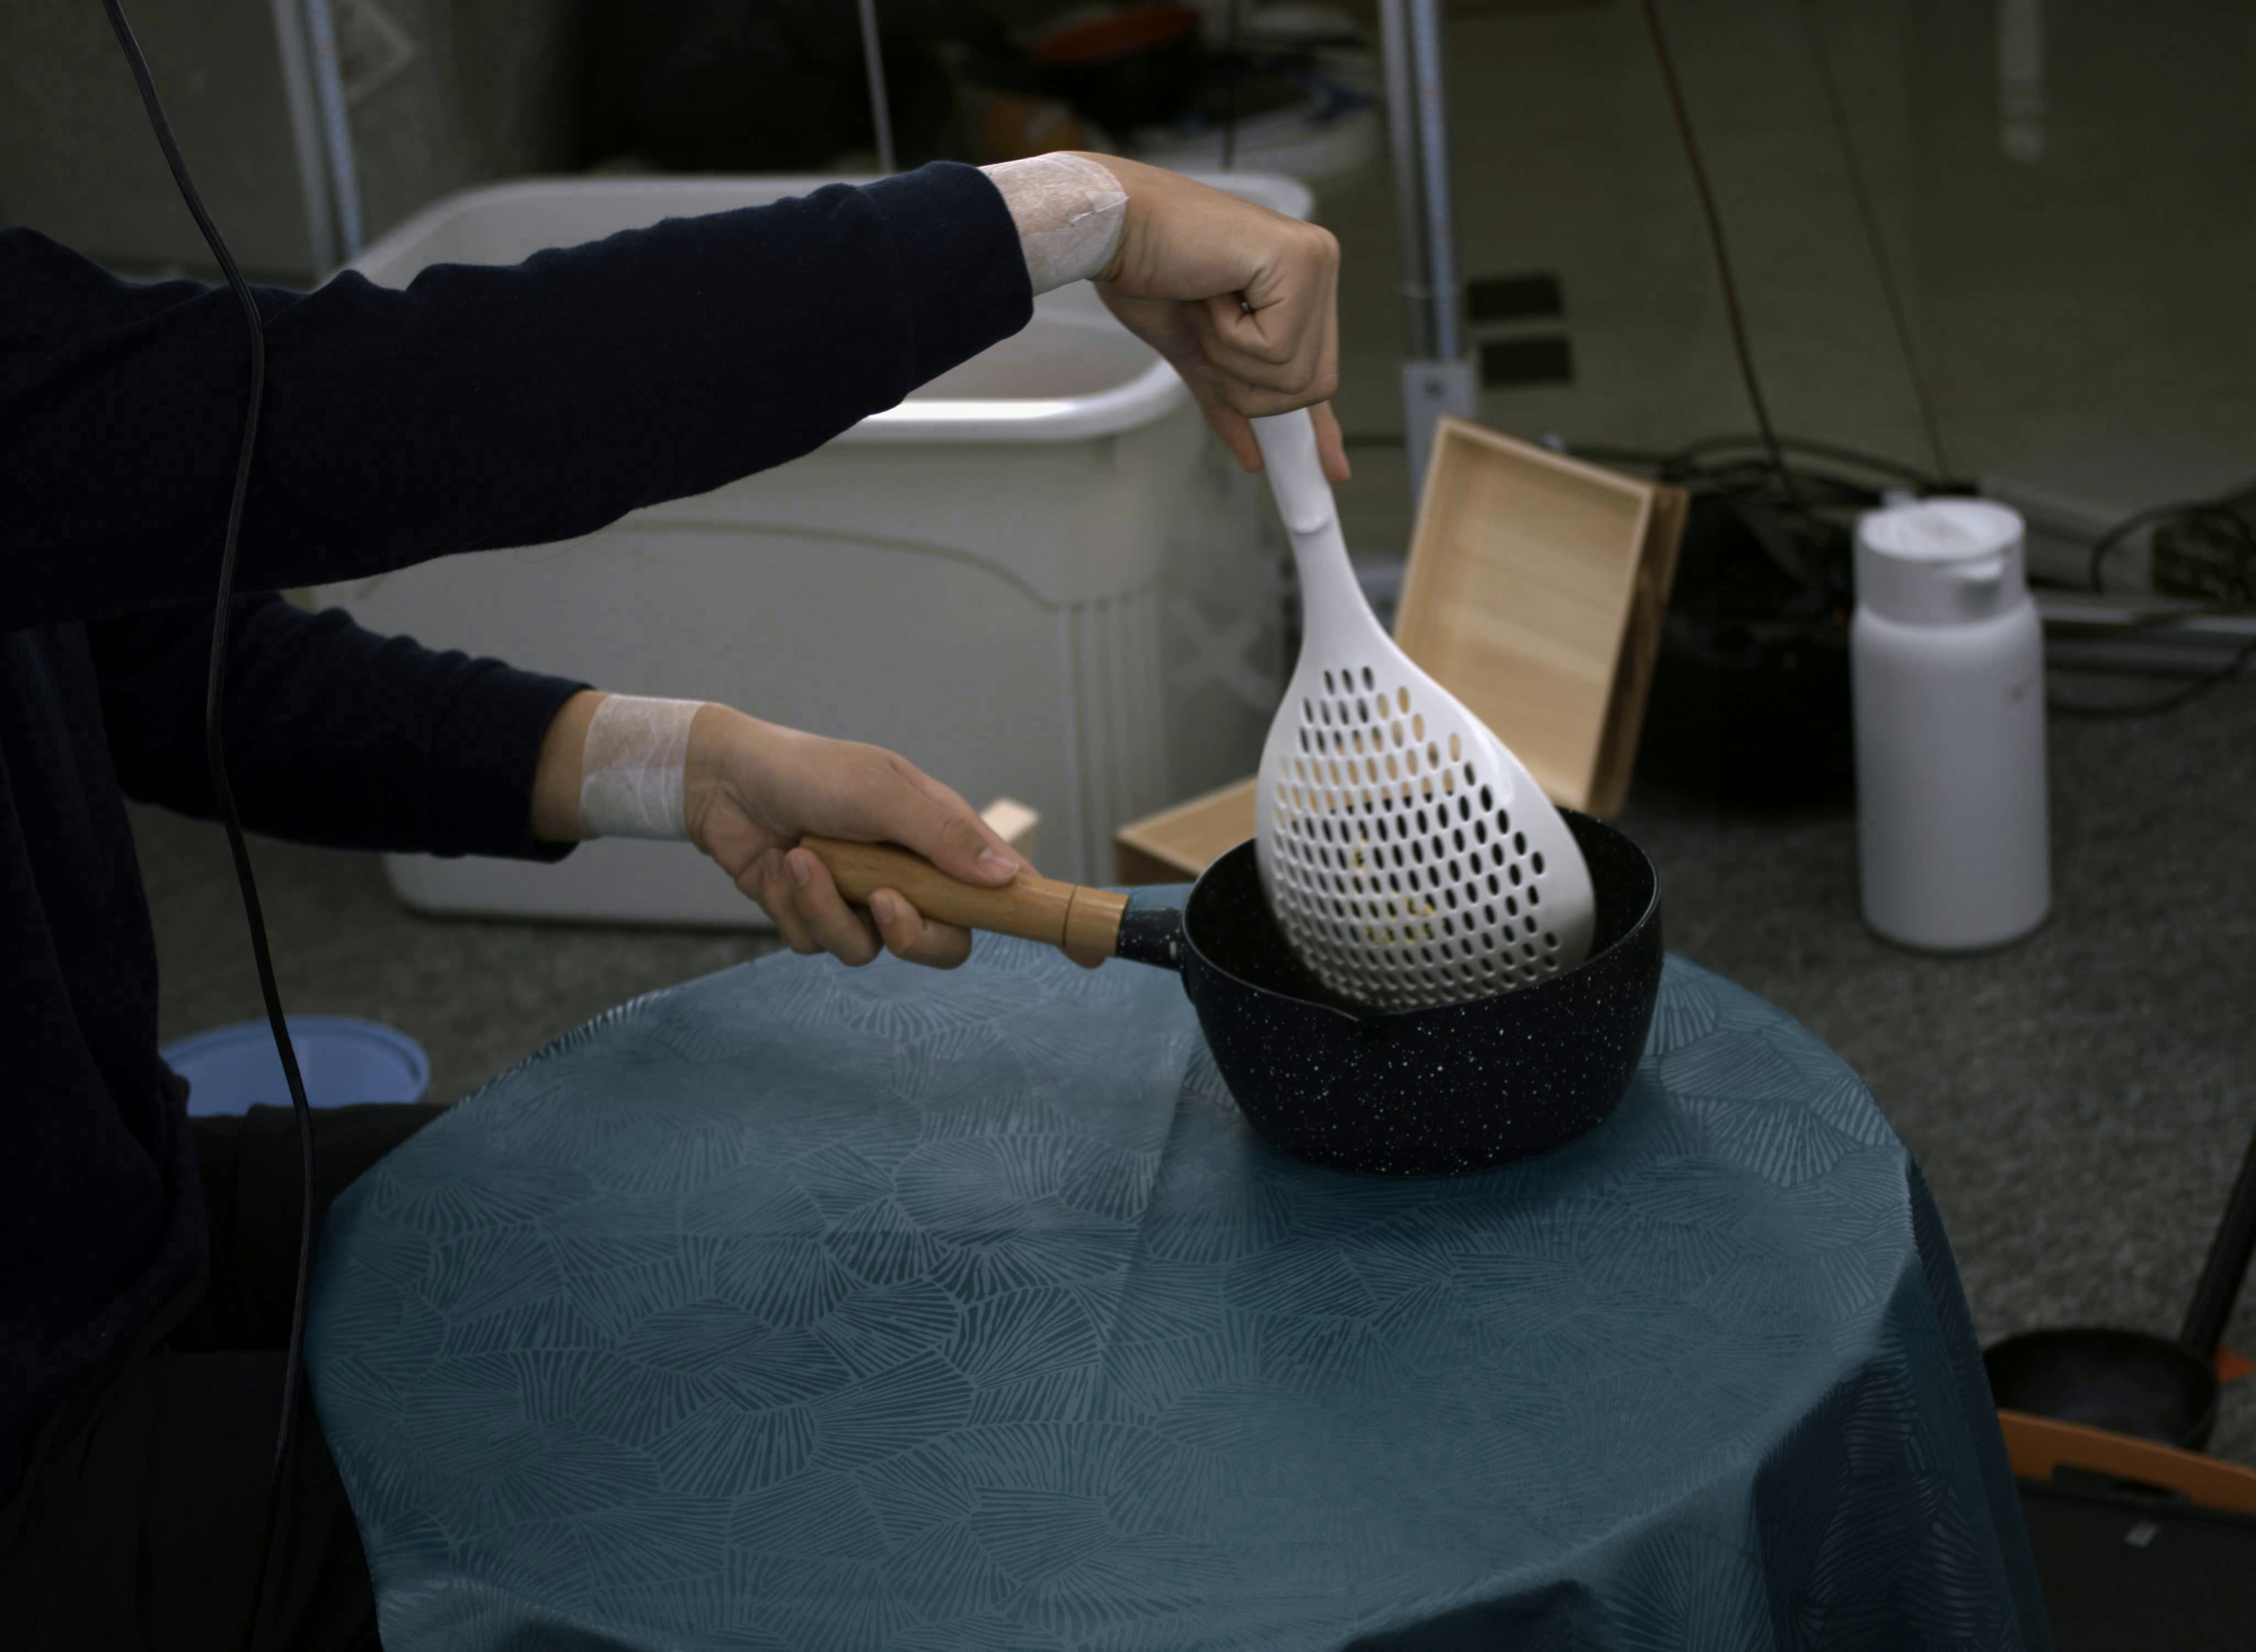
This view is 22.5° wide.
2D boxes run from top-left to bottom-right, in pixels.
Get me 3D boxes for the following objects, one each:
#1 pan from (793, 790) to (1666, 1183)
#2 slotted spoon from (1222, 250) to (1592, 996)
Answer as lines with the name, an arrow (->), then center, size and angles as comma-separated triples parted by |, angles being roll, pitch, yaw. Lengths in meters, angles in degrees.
pan -> 0.037, 0.054, 2.191 | 0.342, 0.110, 0.204 | 1, 27, 13
slotted spoon -> 0.080, -0.065, 2.128 | 0.136, 0.353, 0.049 | -3, 29, 23
